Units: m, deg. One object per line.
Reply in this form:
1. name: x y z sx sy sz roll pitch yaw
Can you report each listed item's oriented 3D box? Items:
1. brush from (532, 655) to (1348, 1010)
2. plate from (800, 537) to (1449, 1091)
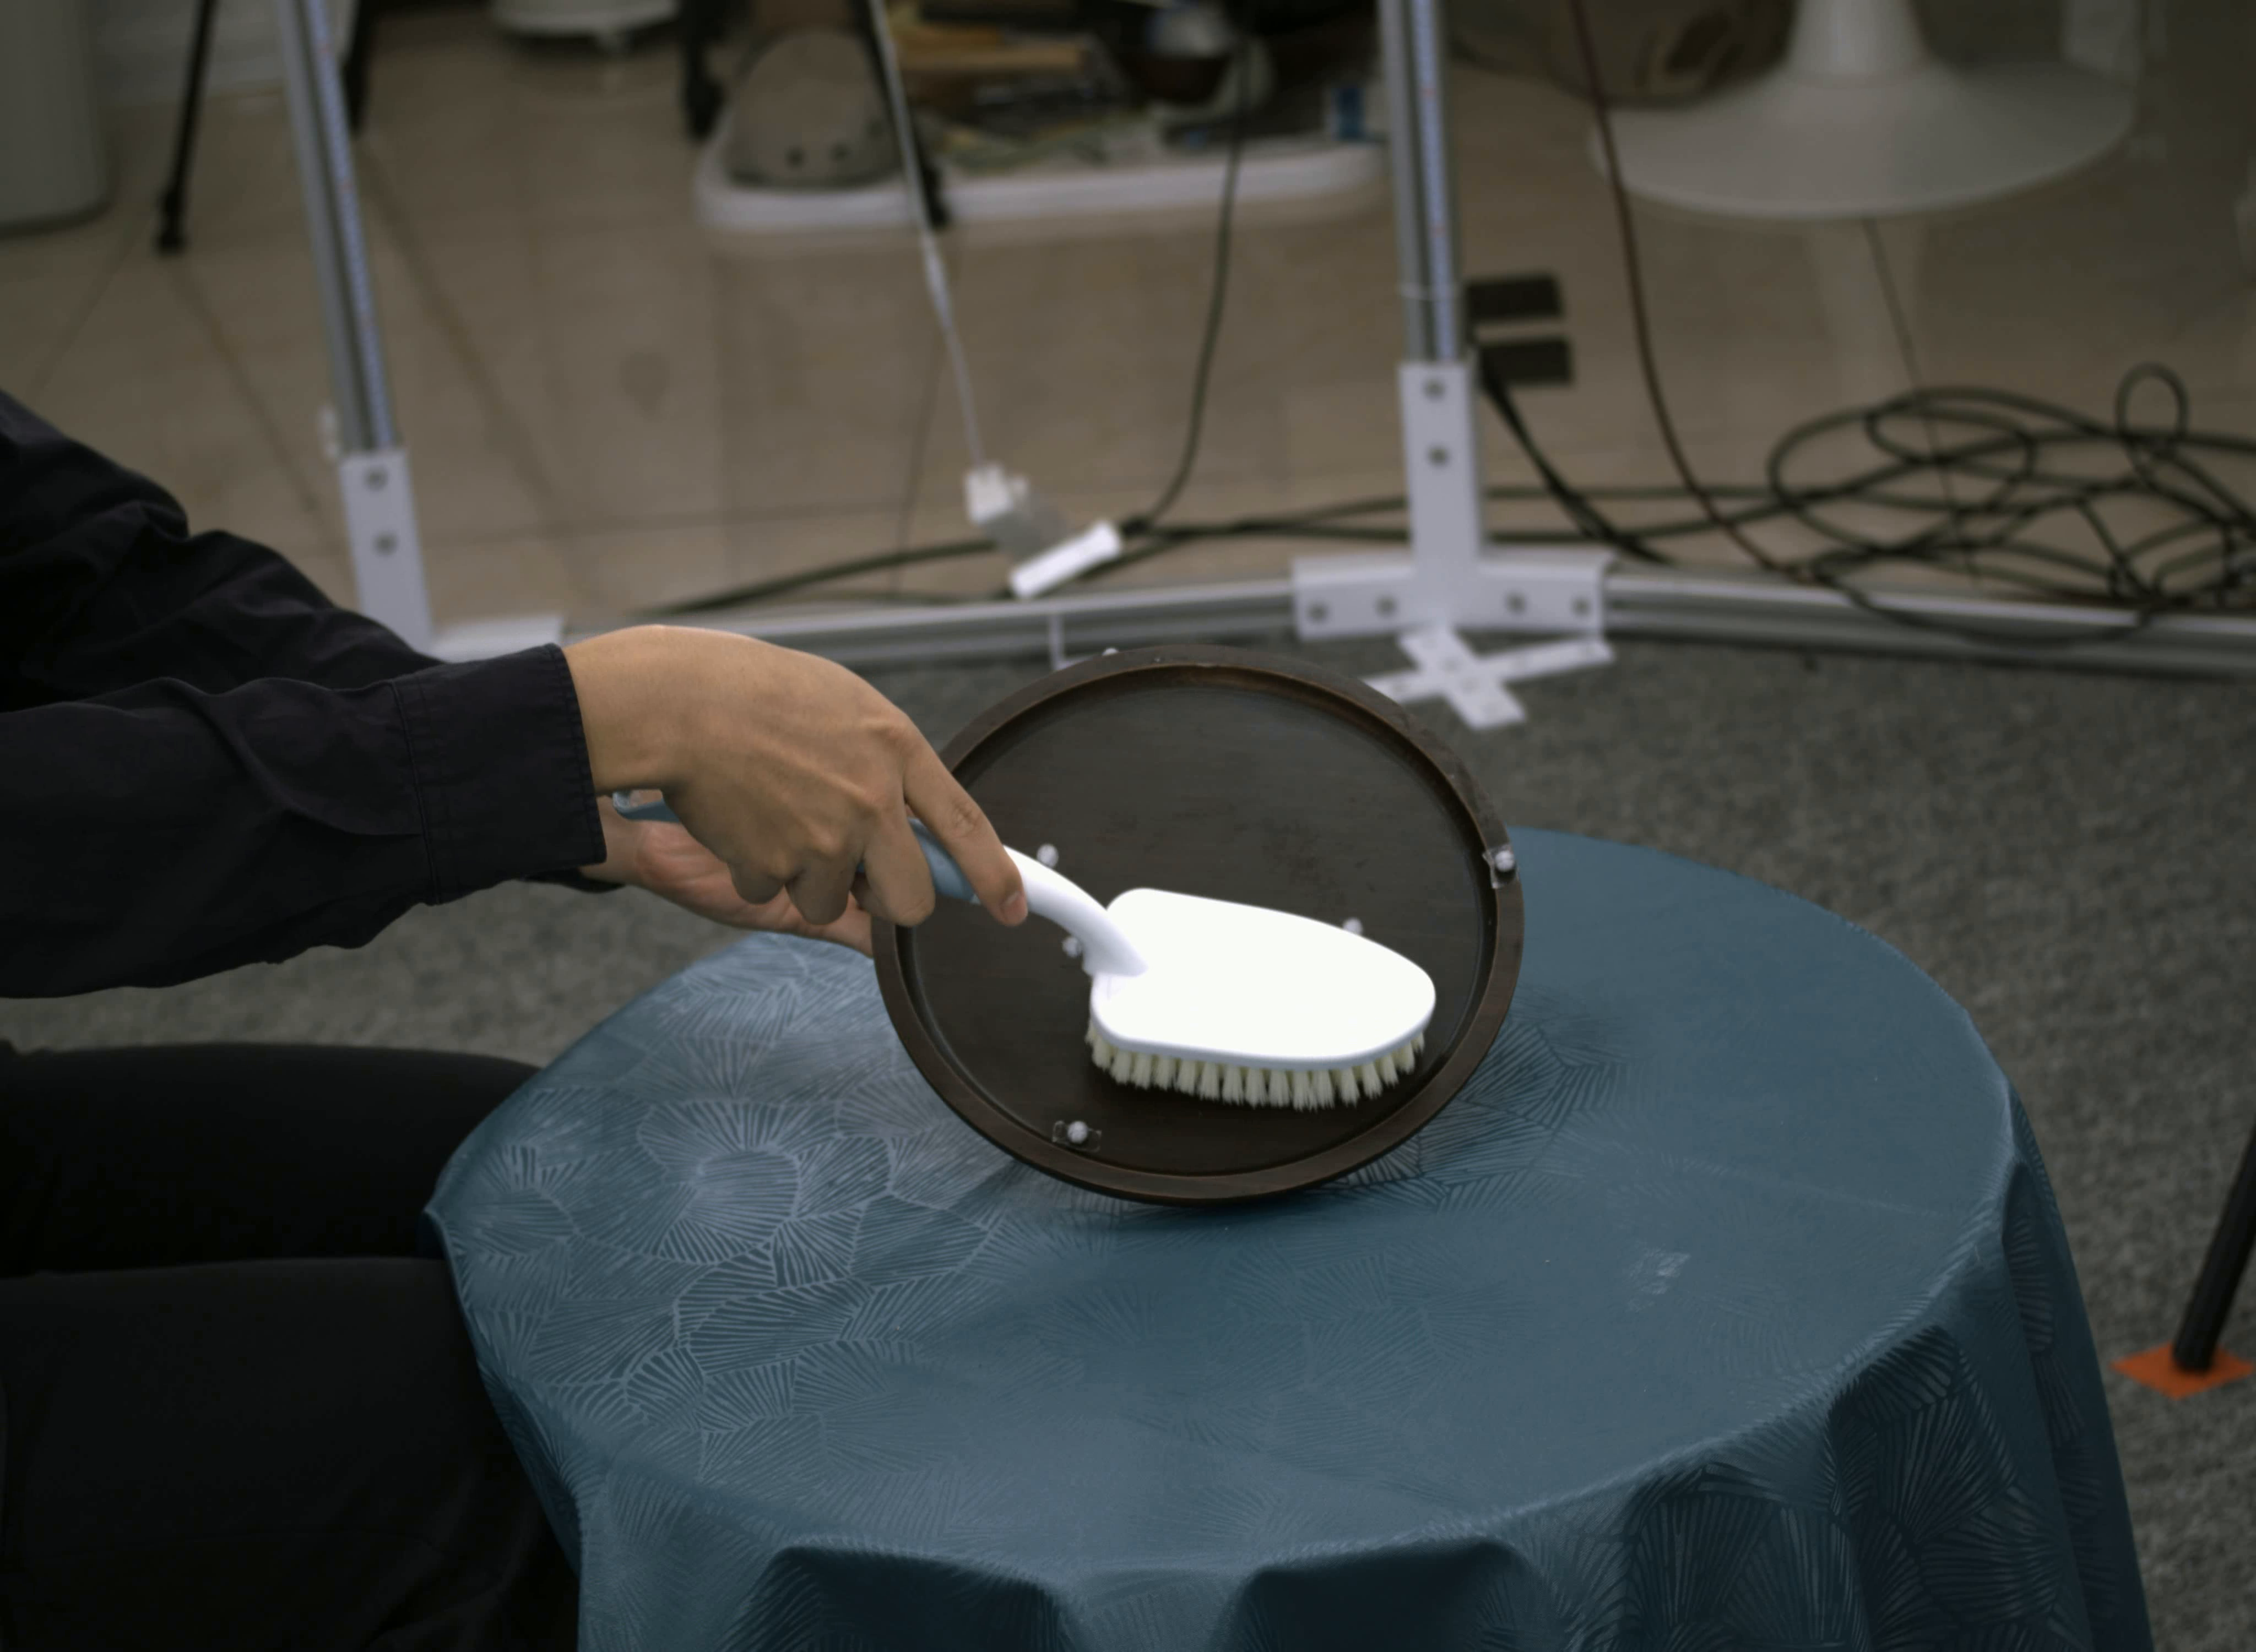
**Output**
1. brush: -0.074 0.003 2.142 0.326 0.085 0.082 16 20 -13
2. plate: -0.002 -0.006 2.214 0.254 0.029 0.251 0 61 1
